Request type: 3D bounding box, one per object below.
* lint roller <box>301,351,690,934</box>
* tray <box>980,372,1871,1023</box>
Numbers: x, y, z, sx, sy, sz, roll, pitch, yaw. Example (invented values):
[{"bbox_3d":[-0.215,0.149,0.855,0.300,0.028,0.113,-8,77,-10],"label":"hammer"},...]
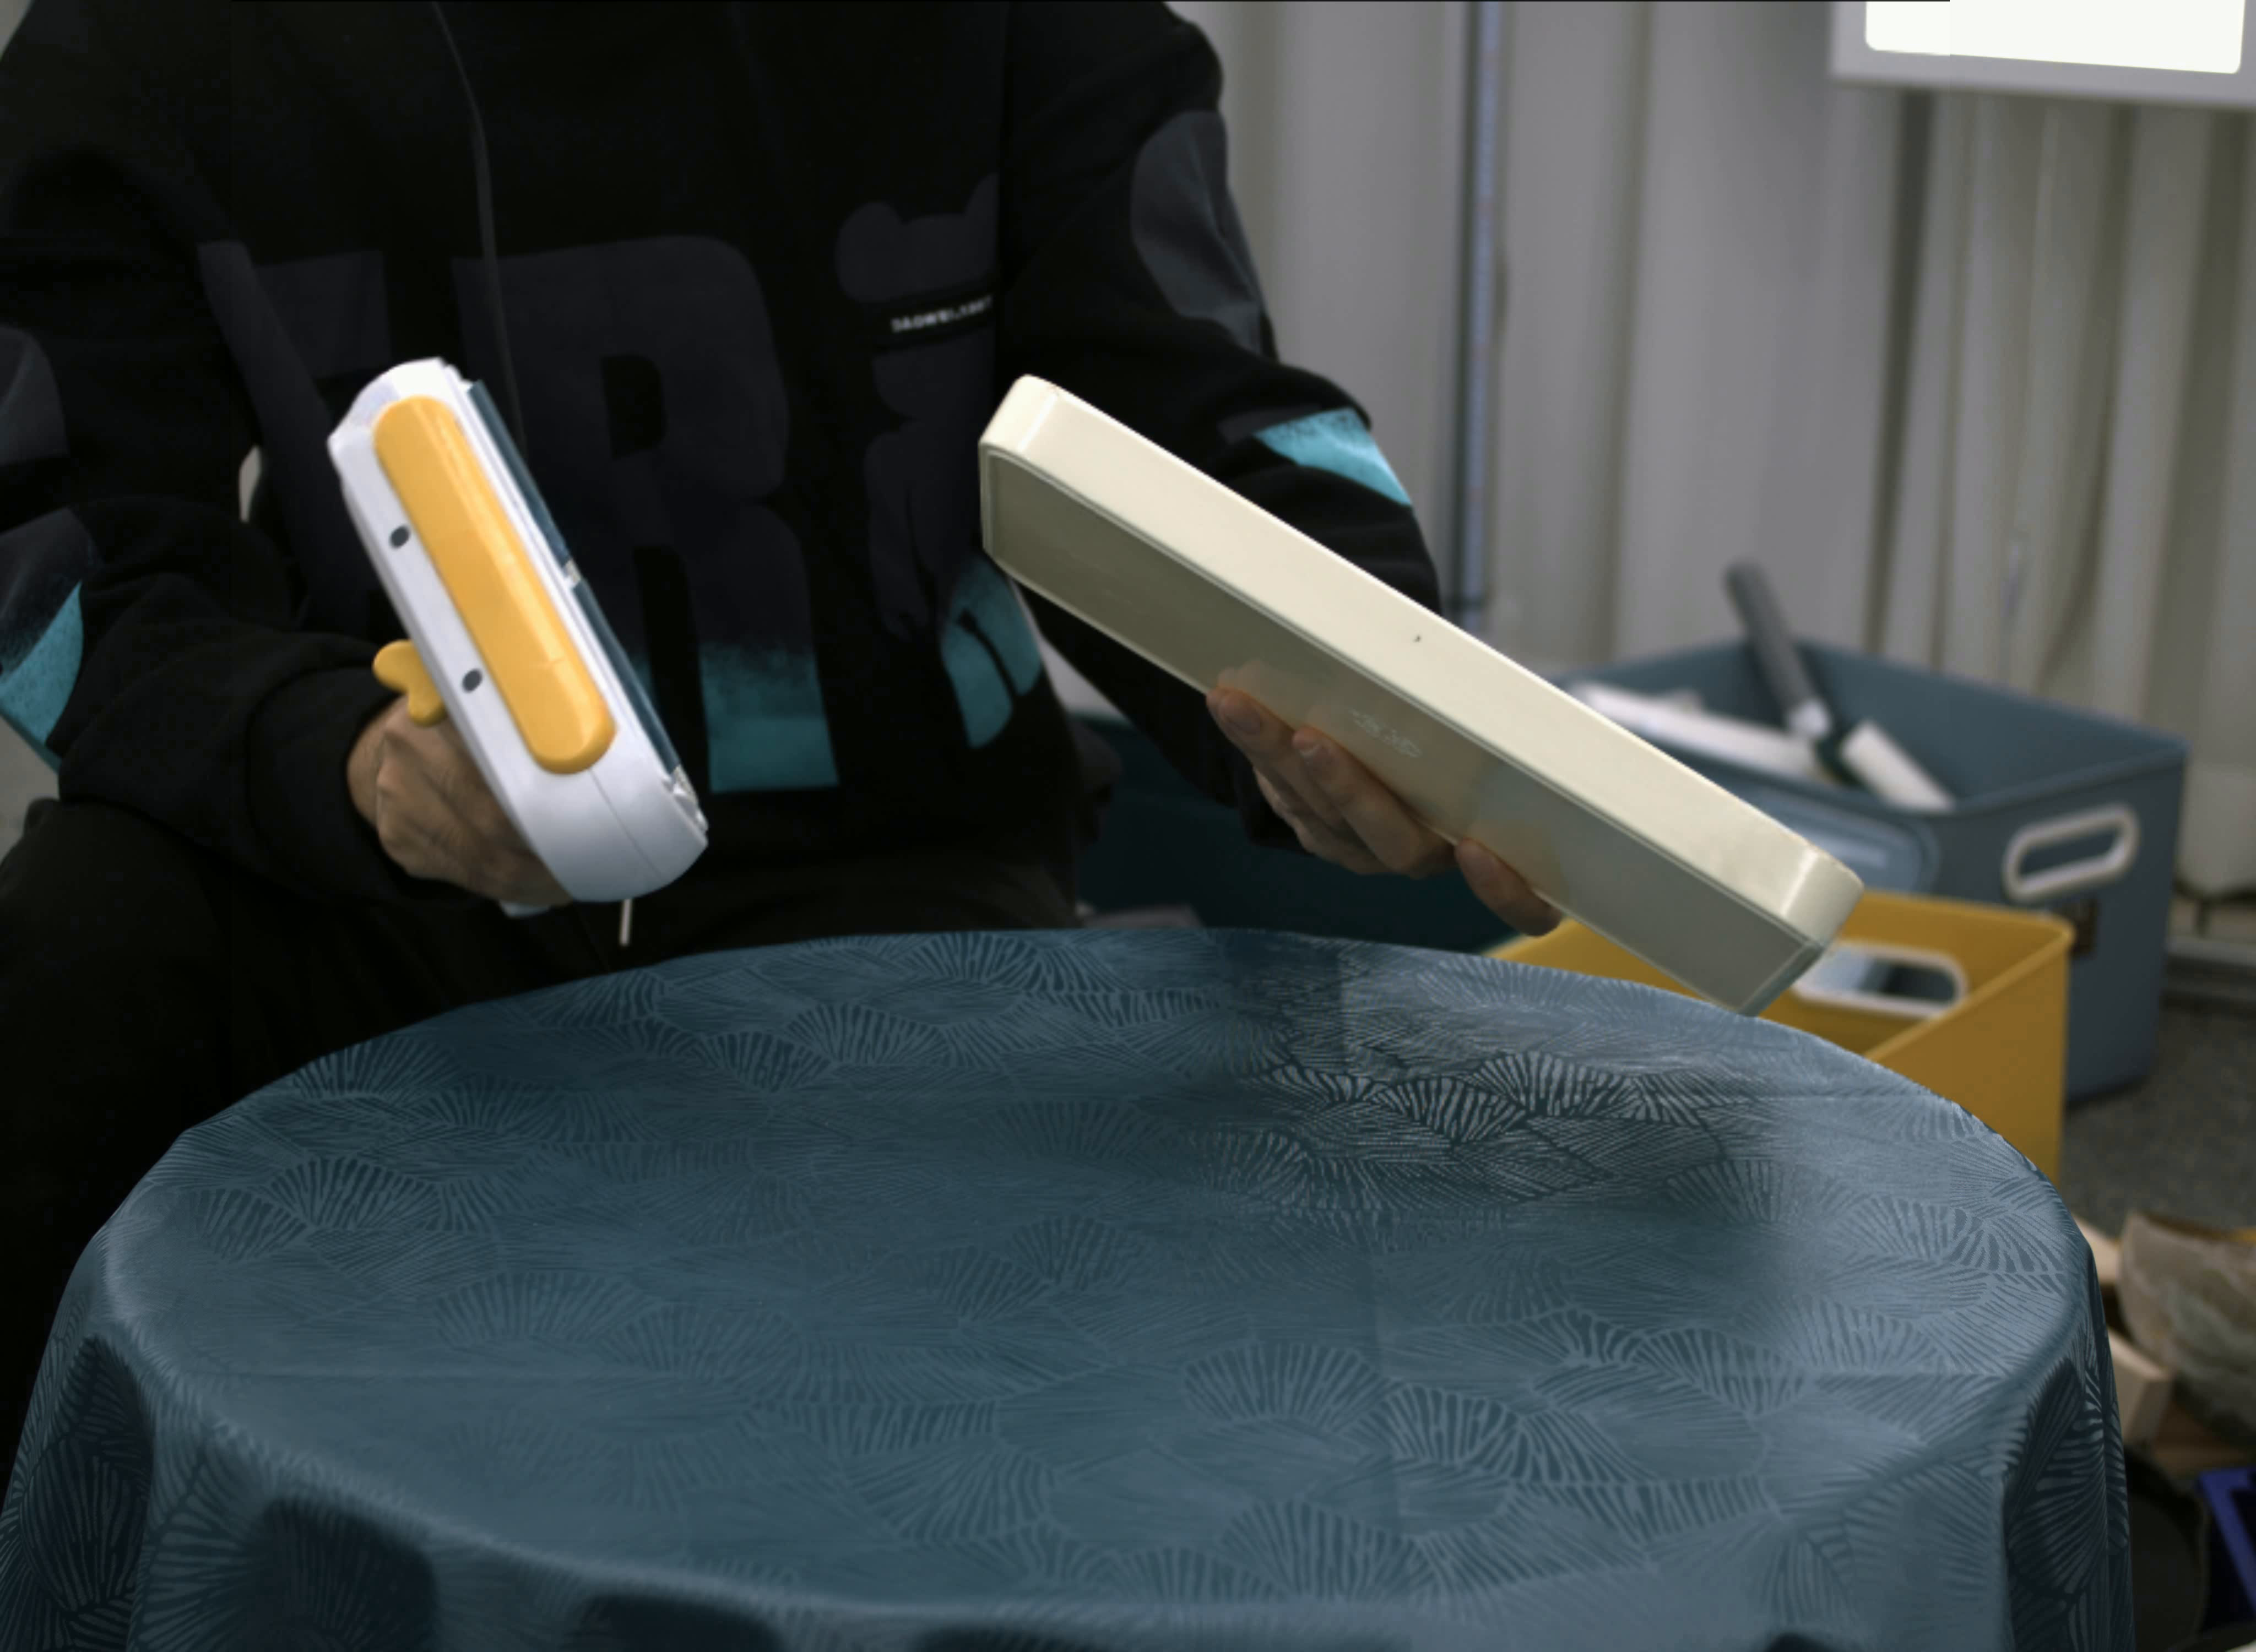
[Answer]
[{"bbox_3d":[-0.192,-0.032,1.671,0.074,0.194,0.191,-31,61,-9],"label":"lint roller"},{"bbox_3d":[0.086,-0.035,1.652,0.299,0.027,0.192,31,-9,3],"label":"tray"}]
